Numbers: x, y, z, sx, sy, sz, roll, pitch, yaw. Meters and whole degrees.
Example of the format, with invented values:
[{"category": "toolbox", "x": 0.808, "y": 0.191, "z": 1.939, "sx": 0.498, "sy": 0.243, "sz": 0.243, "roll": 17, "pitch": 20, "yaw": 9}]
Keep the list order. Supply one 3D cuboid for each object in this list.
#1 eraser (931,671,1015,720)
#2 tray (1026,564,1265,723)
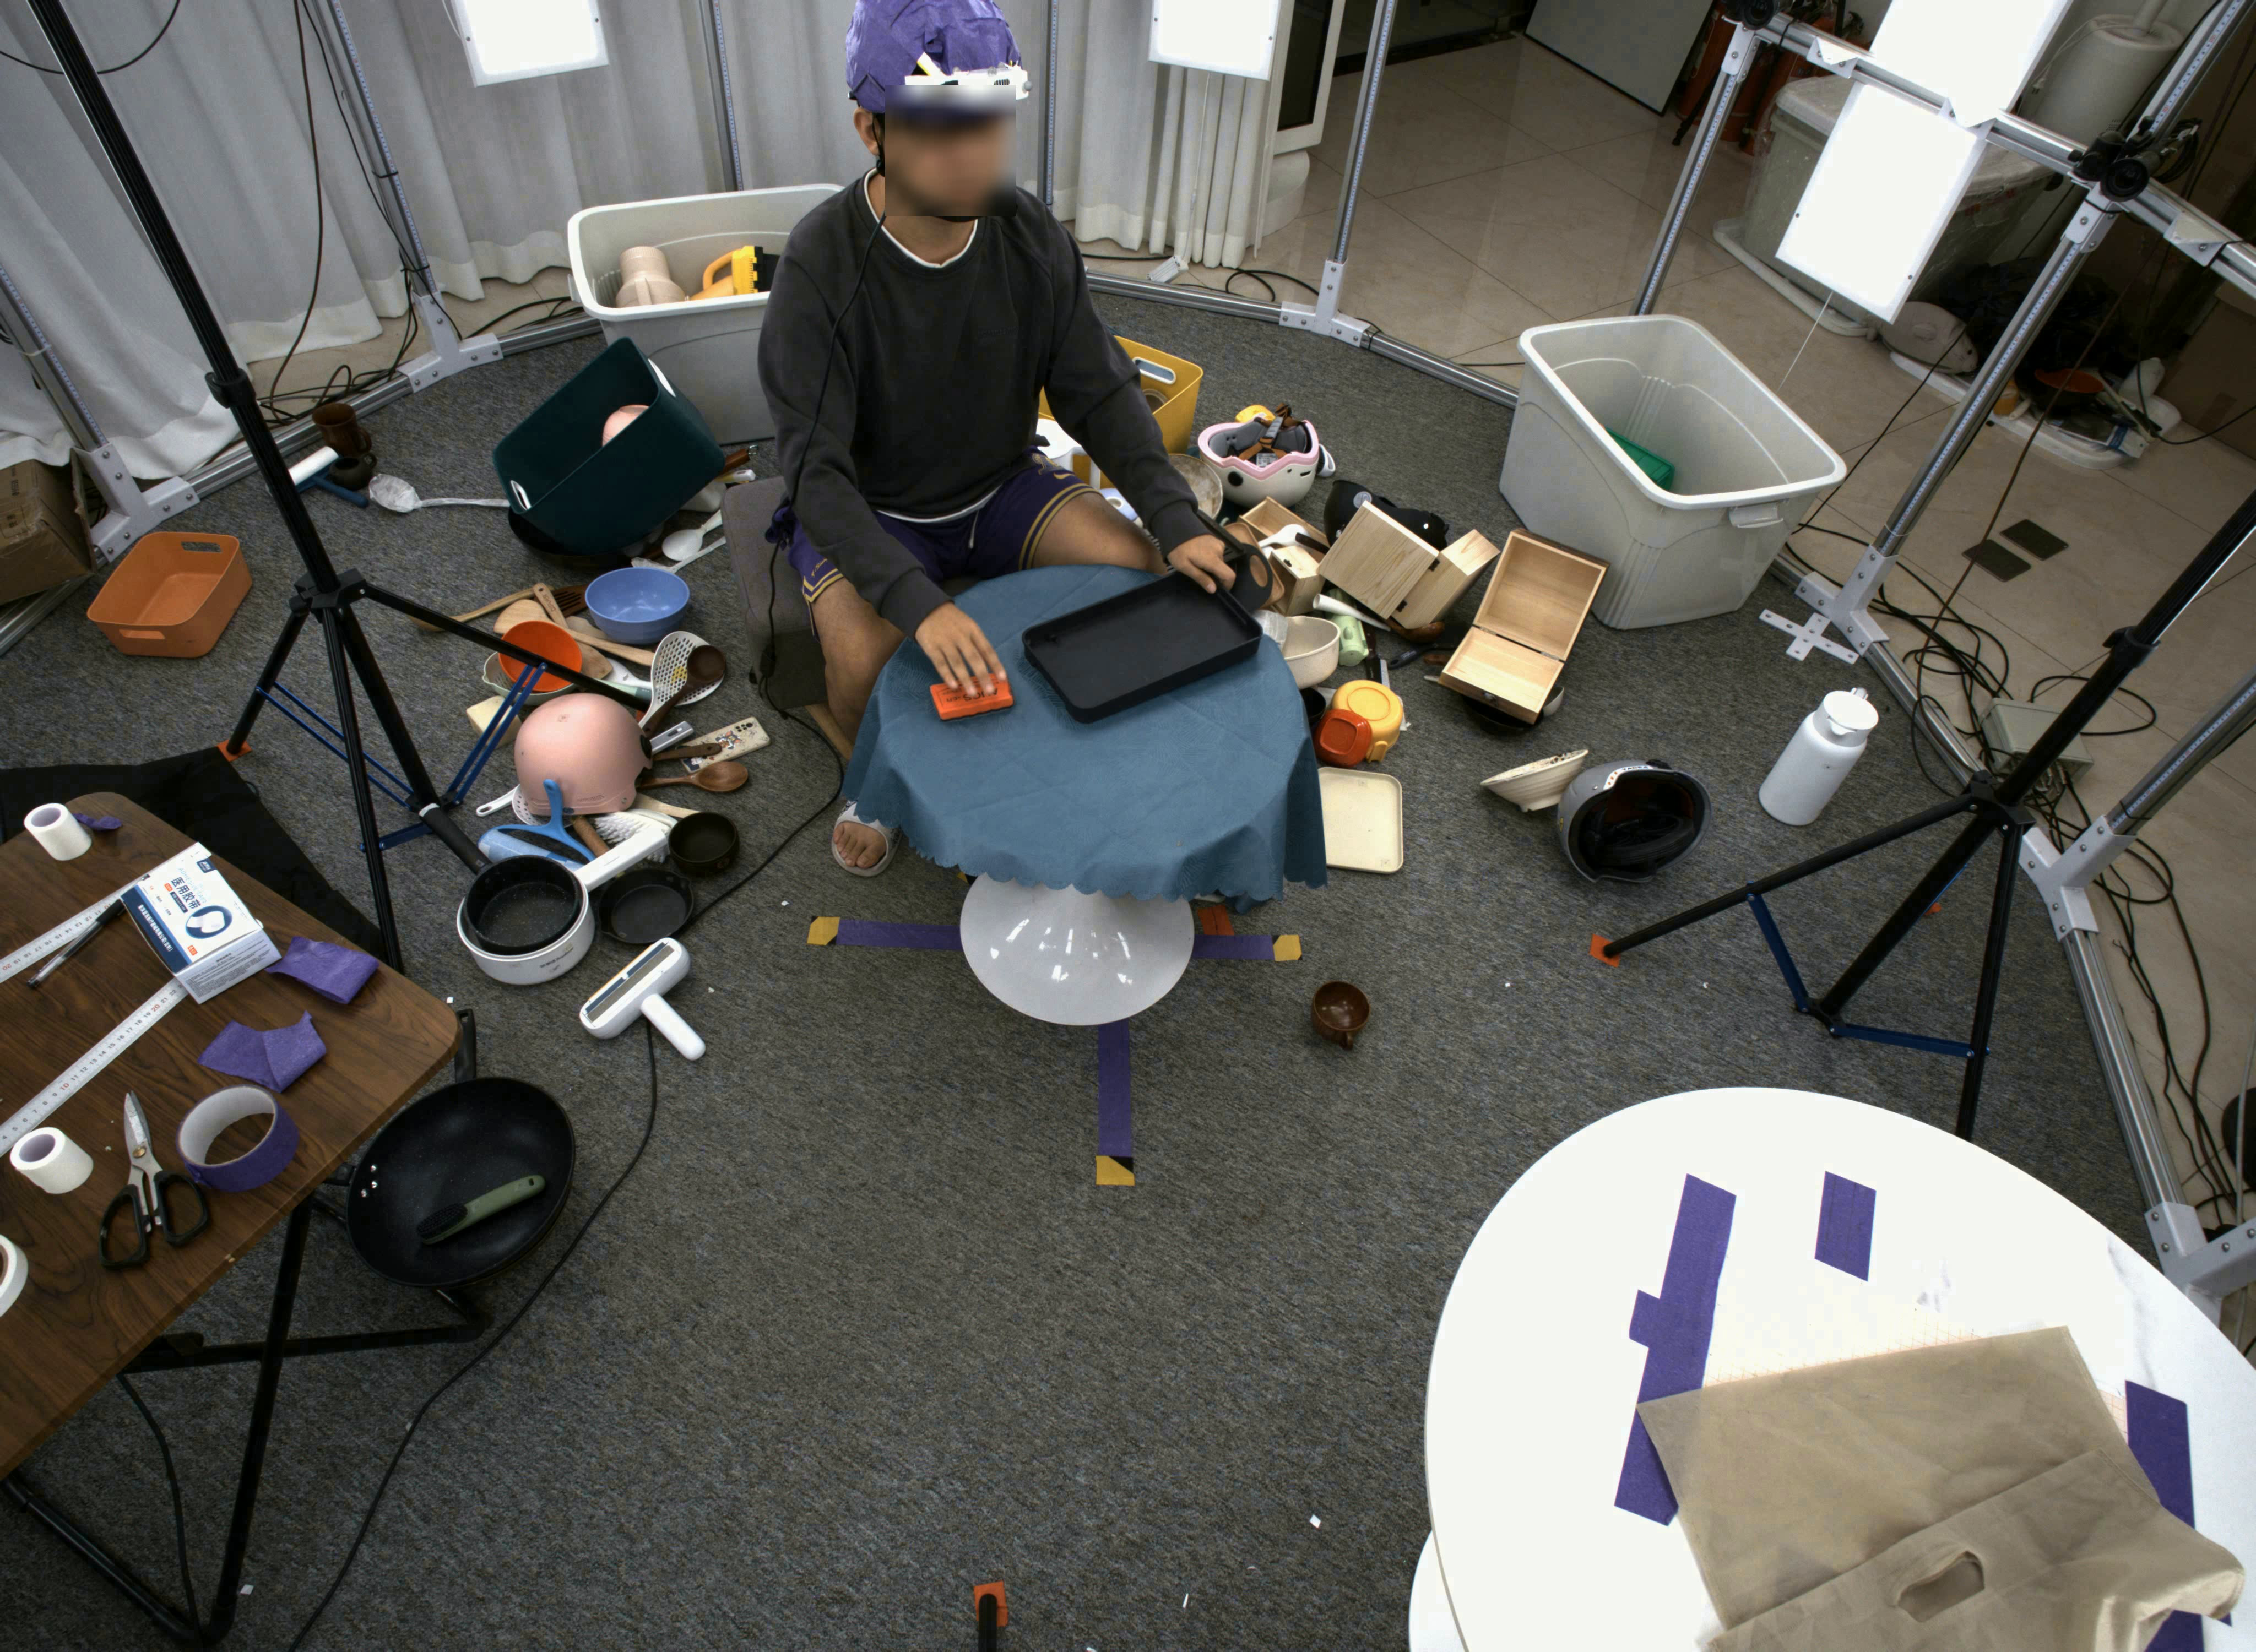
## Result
[{"category": "eraser", "x": -0.216, "y": -0.183, "z": 1.791, "sx": 0.108, "sy": 0.022, "sz": 0.060, "roll": -15, "pitch": 44, "yaw": -15}, {"category": "tray", "x": 0.027, "y": -0.271, "z": 1.873, "sx": 0.319, "sy": 0.036, "sz": 0.188, "roll": -26, "pitch": 55, "yaw": -21}]
